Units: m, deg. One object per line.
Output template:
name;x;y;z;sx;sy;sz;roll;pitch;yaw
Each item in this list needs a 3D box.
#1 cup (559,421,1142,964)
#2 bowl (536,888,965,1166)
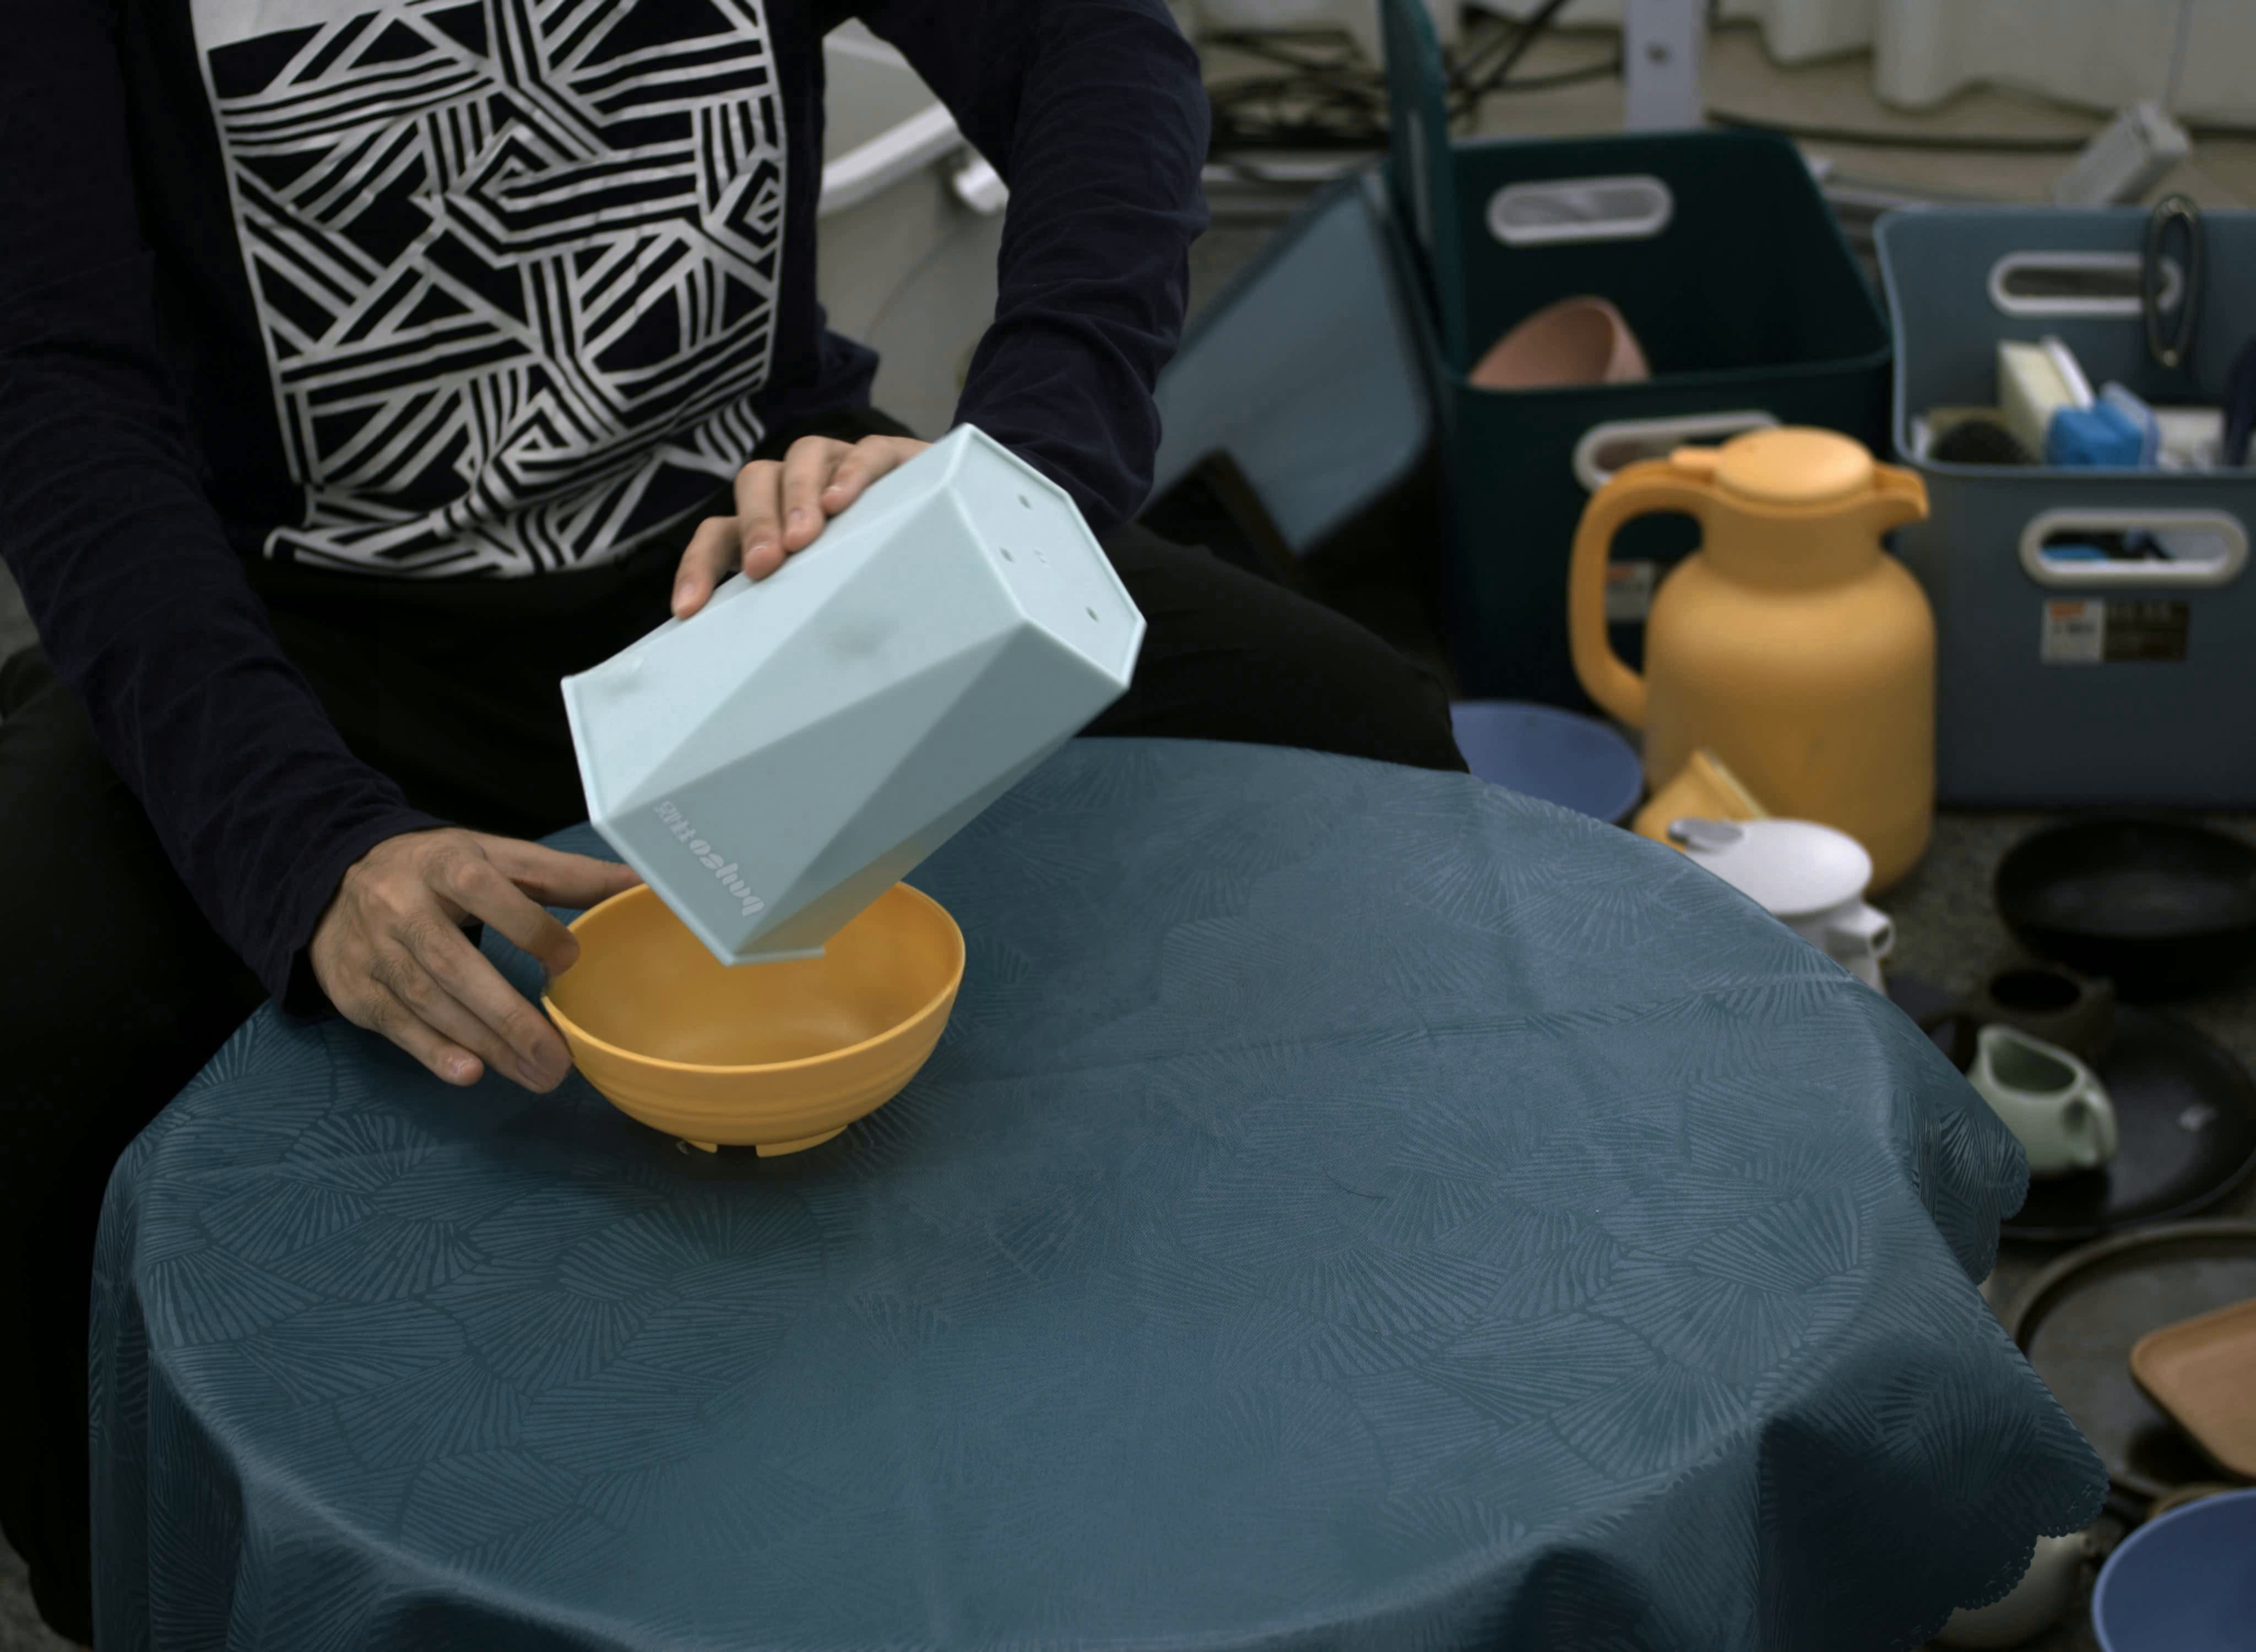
cup;-0.088;-0.046;1.855;0.161;0.130;0.117;-36;13;21
bowl;-0.126;0.074;1.906;0.144;0.059;0.147;-2;24;1
